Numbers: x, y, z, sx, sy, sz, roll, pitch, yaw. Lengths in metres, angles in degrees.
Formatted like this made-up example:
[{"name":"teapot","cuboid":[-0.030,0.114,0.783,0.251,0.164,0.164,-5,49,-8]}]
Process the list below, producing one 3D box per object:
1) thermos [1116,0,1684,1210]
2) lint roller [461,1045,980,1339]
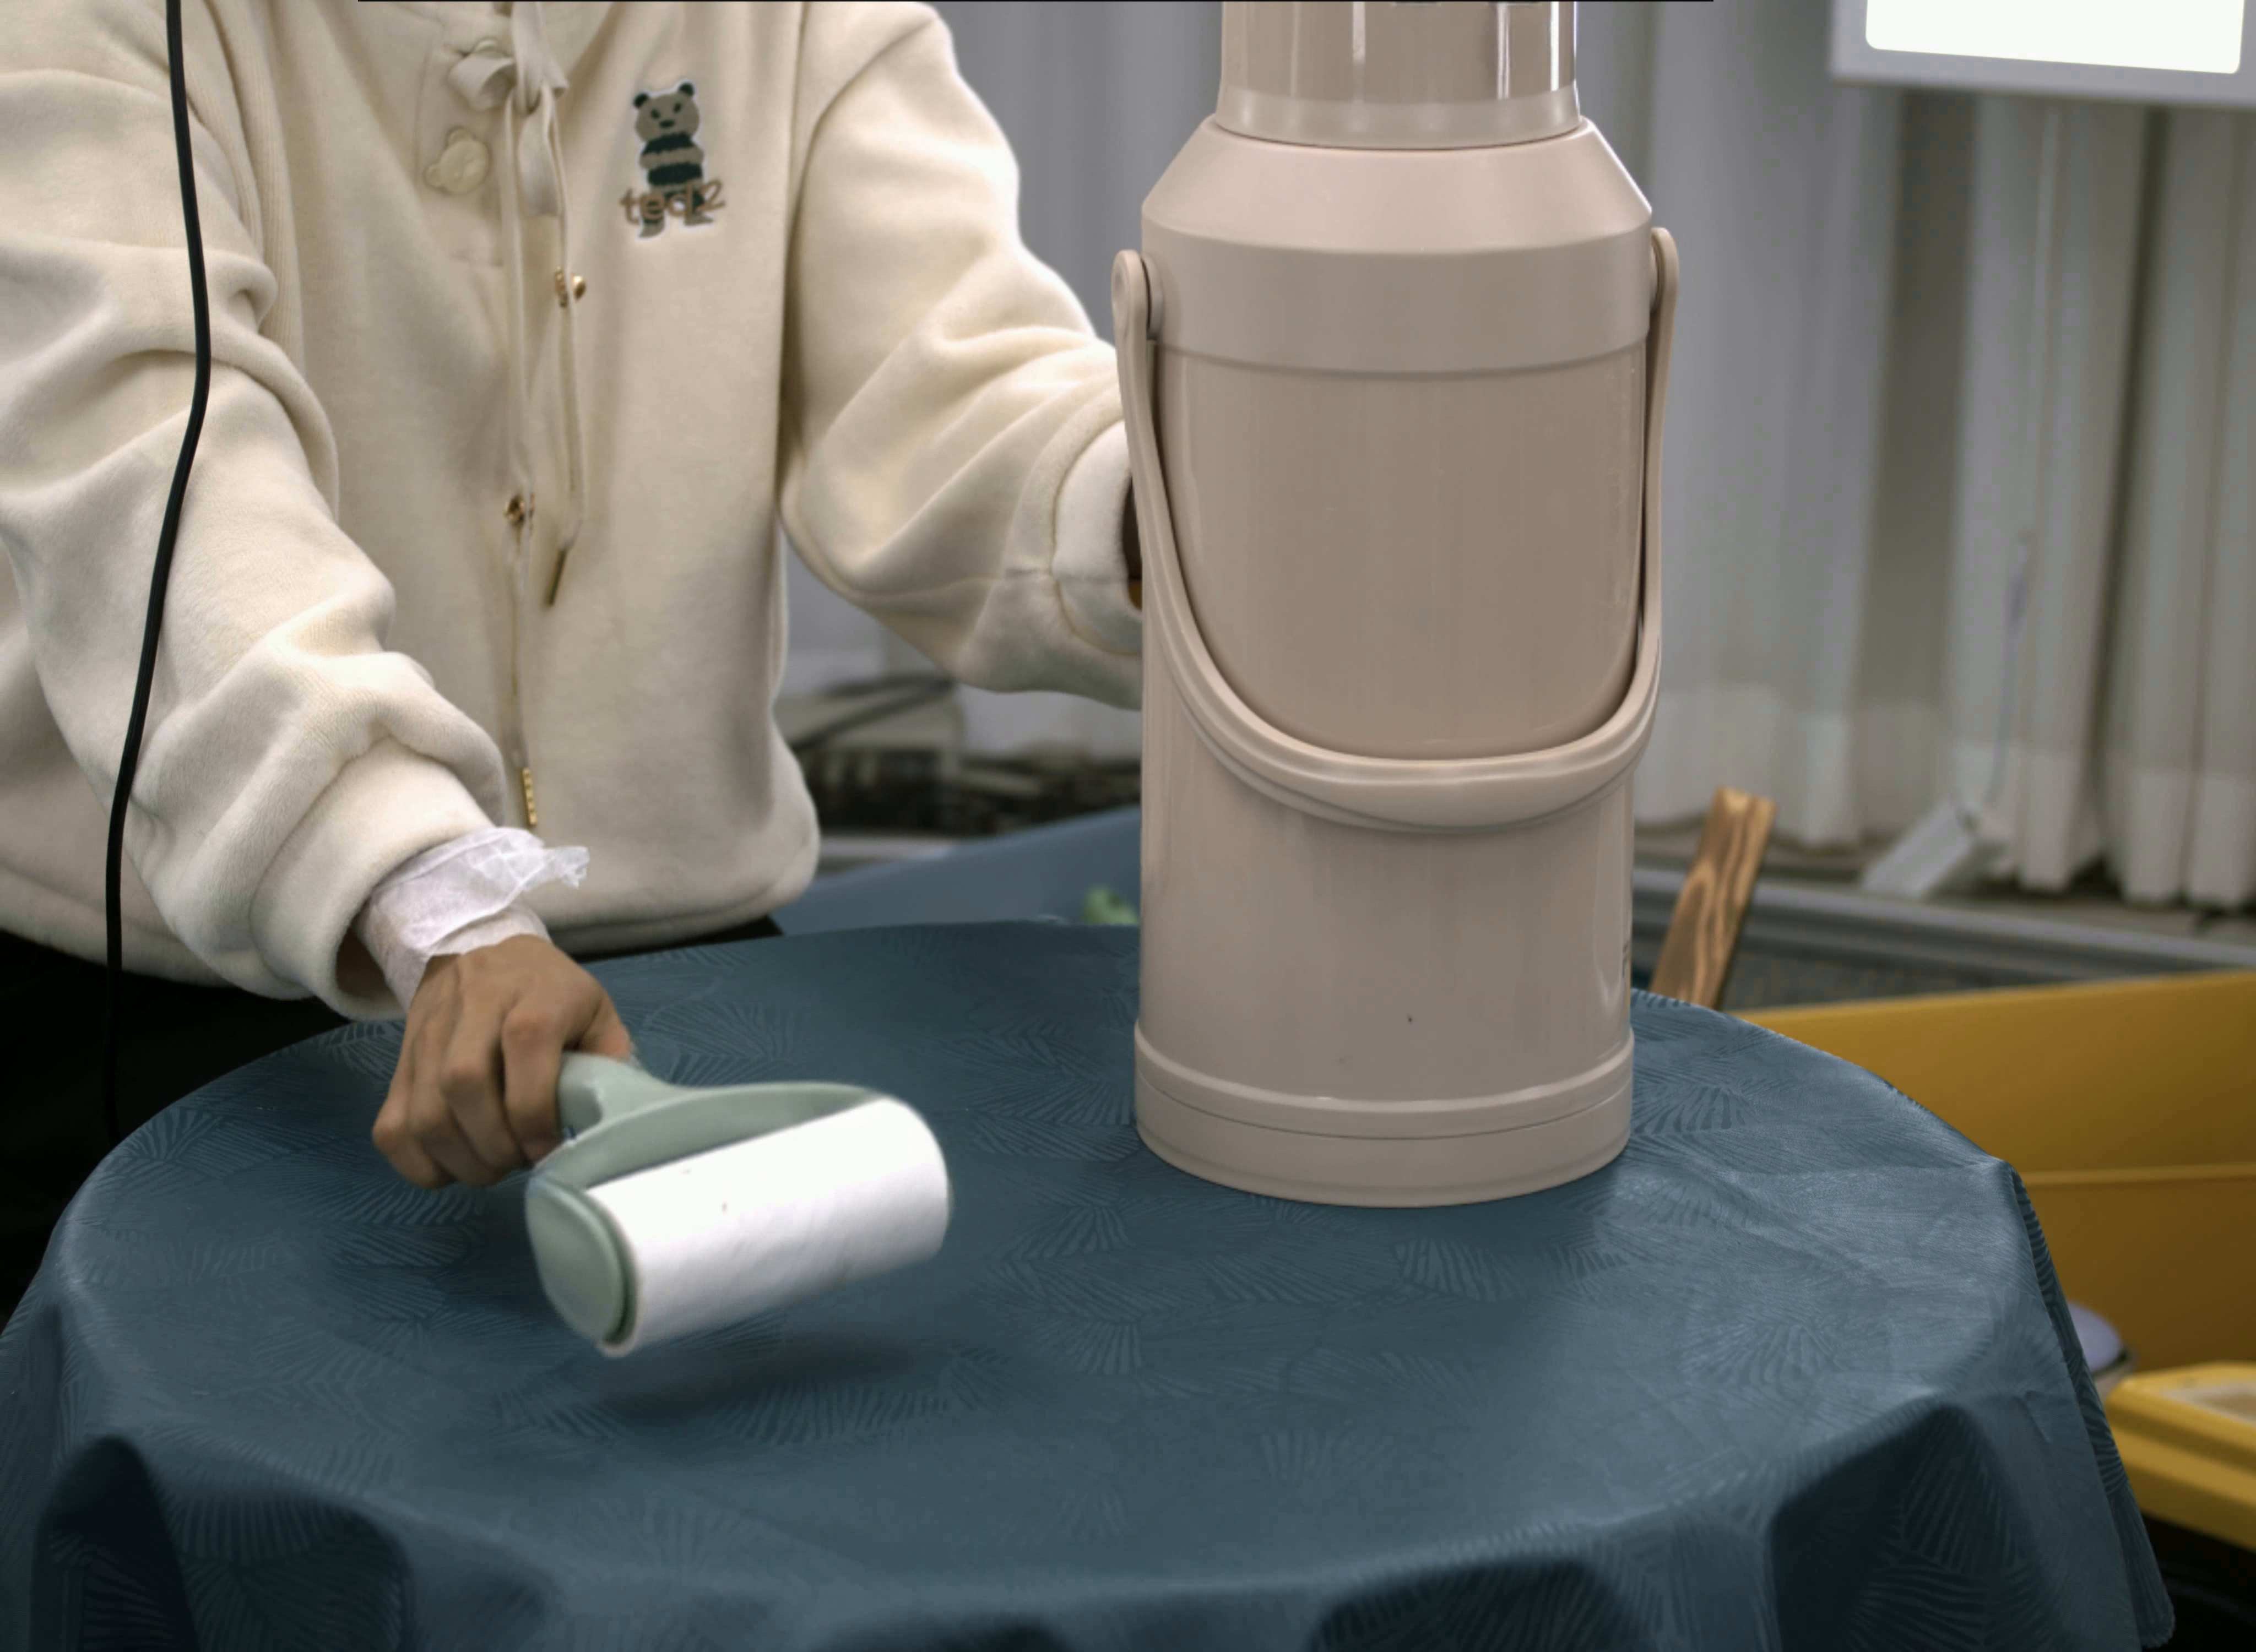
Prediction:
[{"name":"thermos","cuboid":[0.080,-0.098,1.639,0.175,0.410,0.205,-4,17,-14]},{"name":"lint roller","cuboid":[-0.138,0.089,1.517,0.117,0.049,0.195,-17,23,-31]}]
